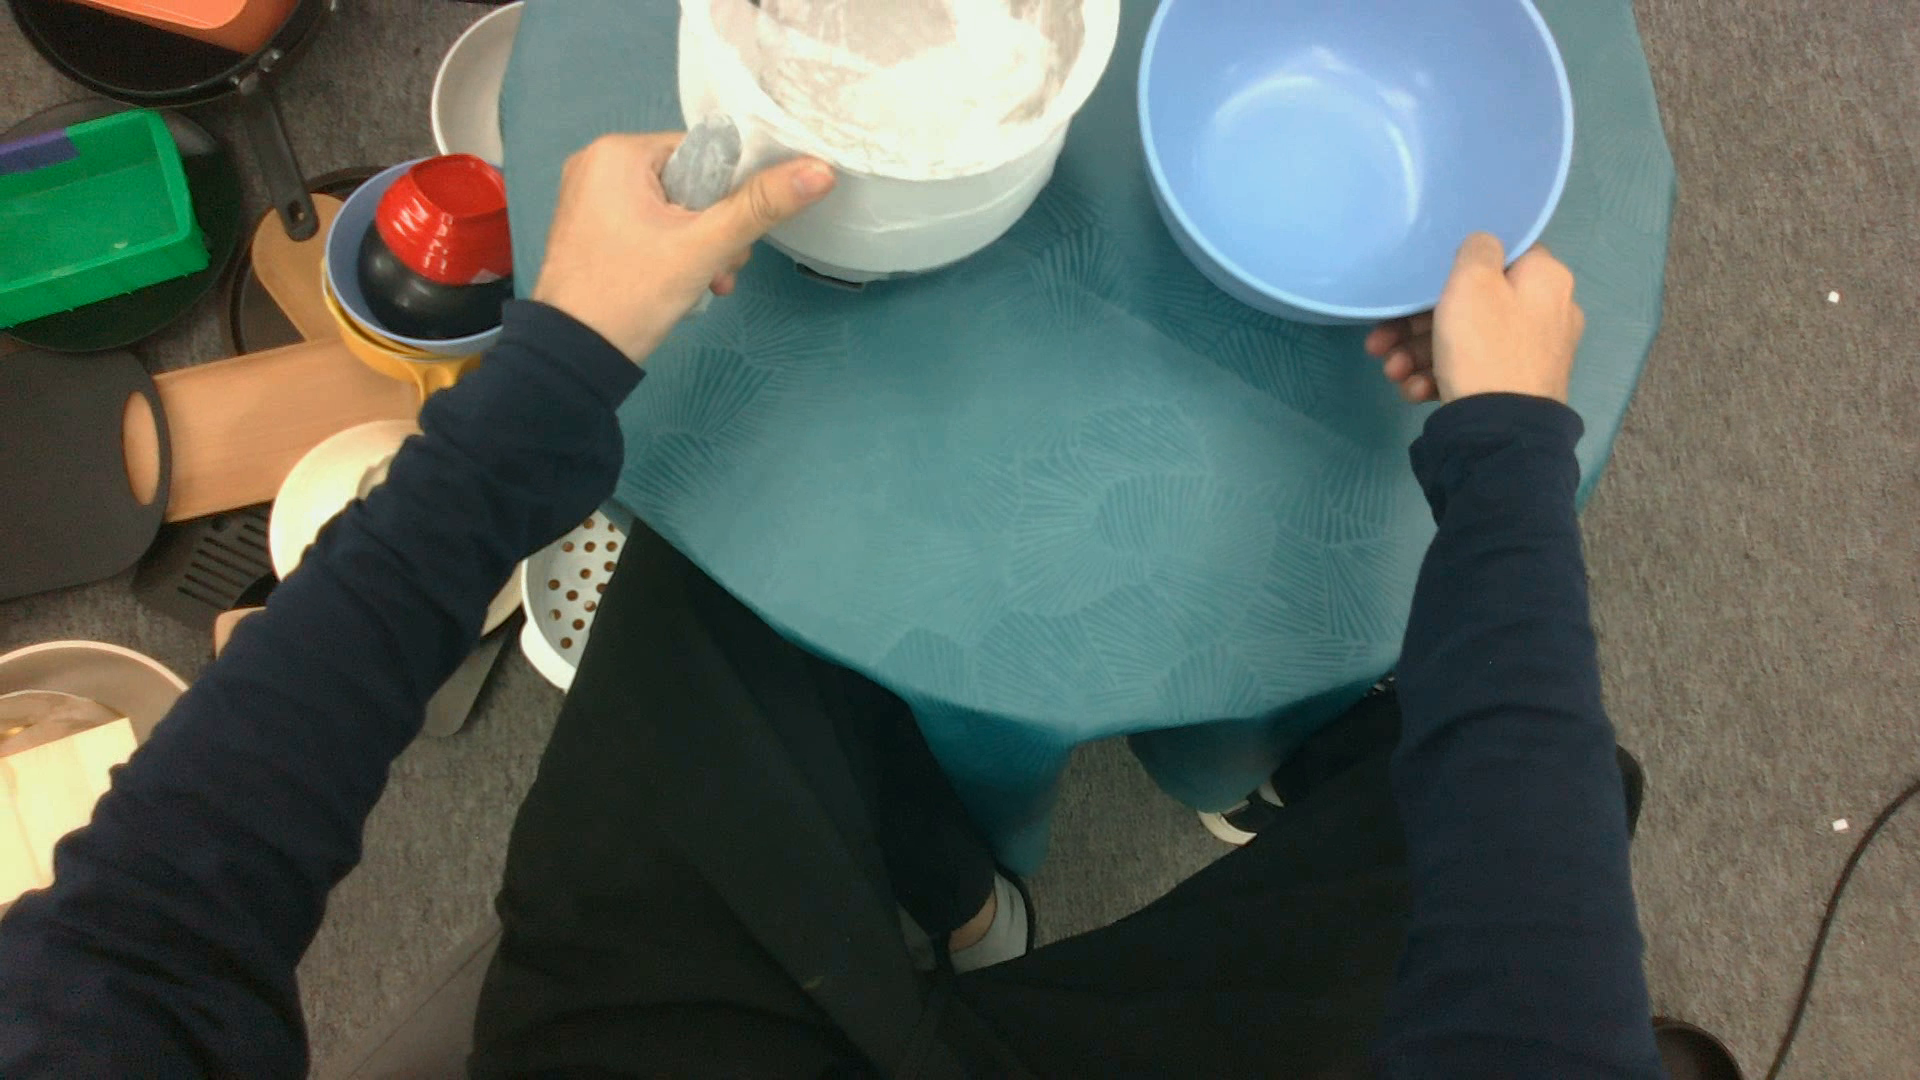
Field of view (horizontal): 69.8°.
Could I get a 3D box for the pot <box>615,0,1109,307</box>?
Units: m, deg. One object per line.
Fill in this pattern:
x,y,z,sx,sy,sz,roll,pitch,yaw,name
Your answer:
-0.055,-0.198,0.594,0.179,0.136,0.234,43,75,1,pot

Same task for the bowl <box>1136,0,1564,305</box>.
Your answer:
0.172,-0.195,0.658,0.196,0.095,0.197,1,80,-5,bowl
